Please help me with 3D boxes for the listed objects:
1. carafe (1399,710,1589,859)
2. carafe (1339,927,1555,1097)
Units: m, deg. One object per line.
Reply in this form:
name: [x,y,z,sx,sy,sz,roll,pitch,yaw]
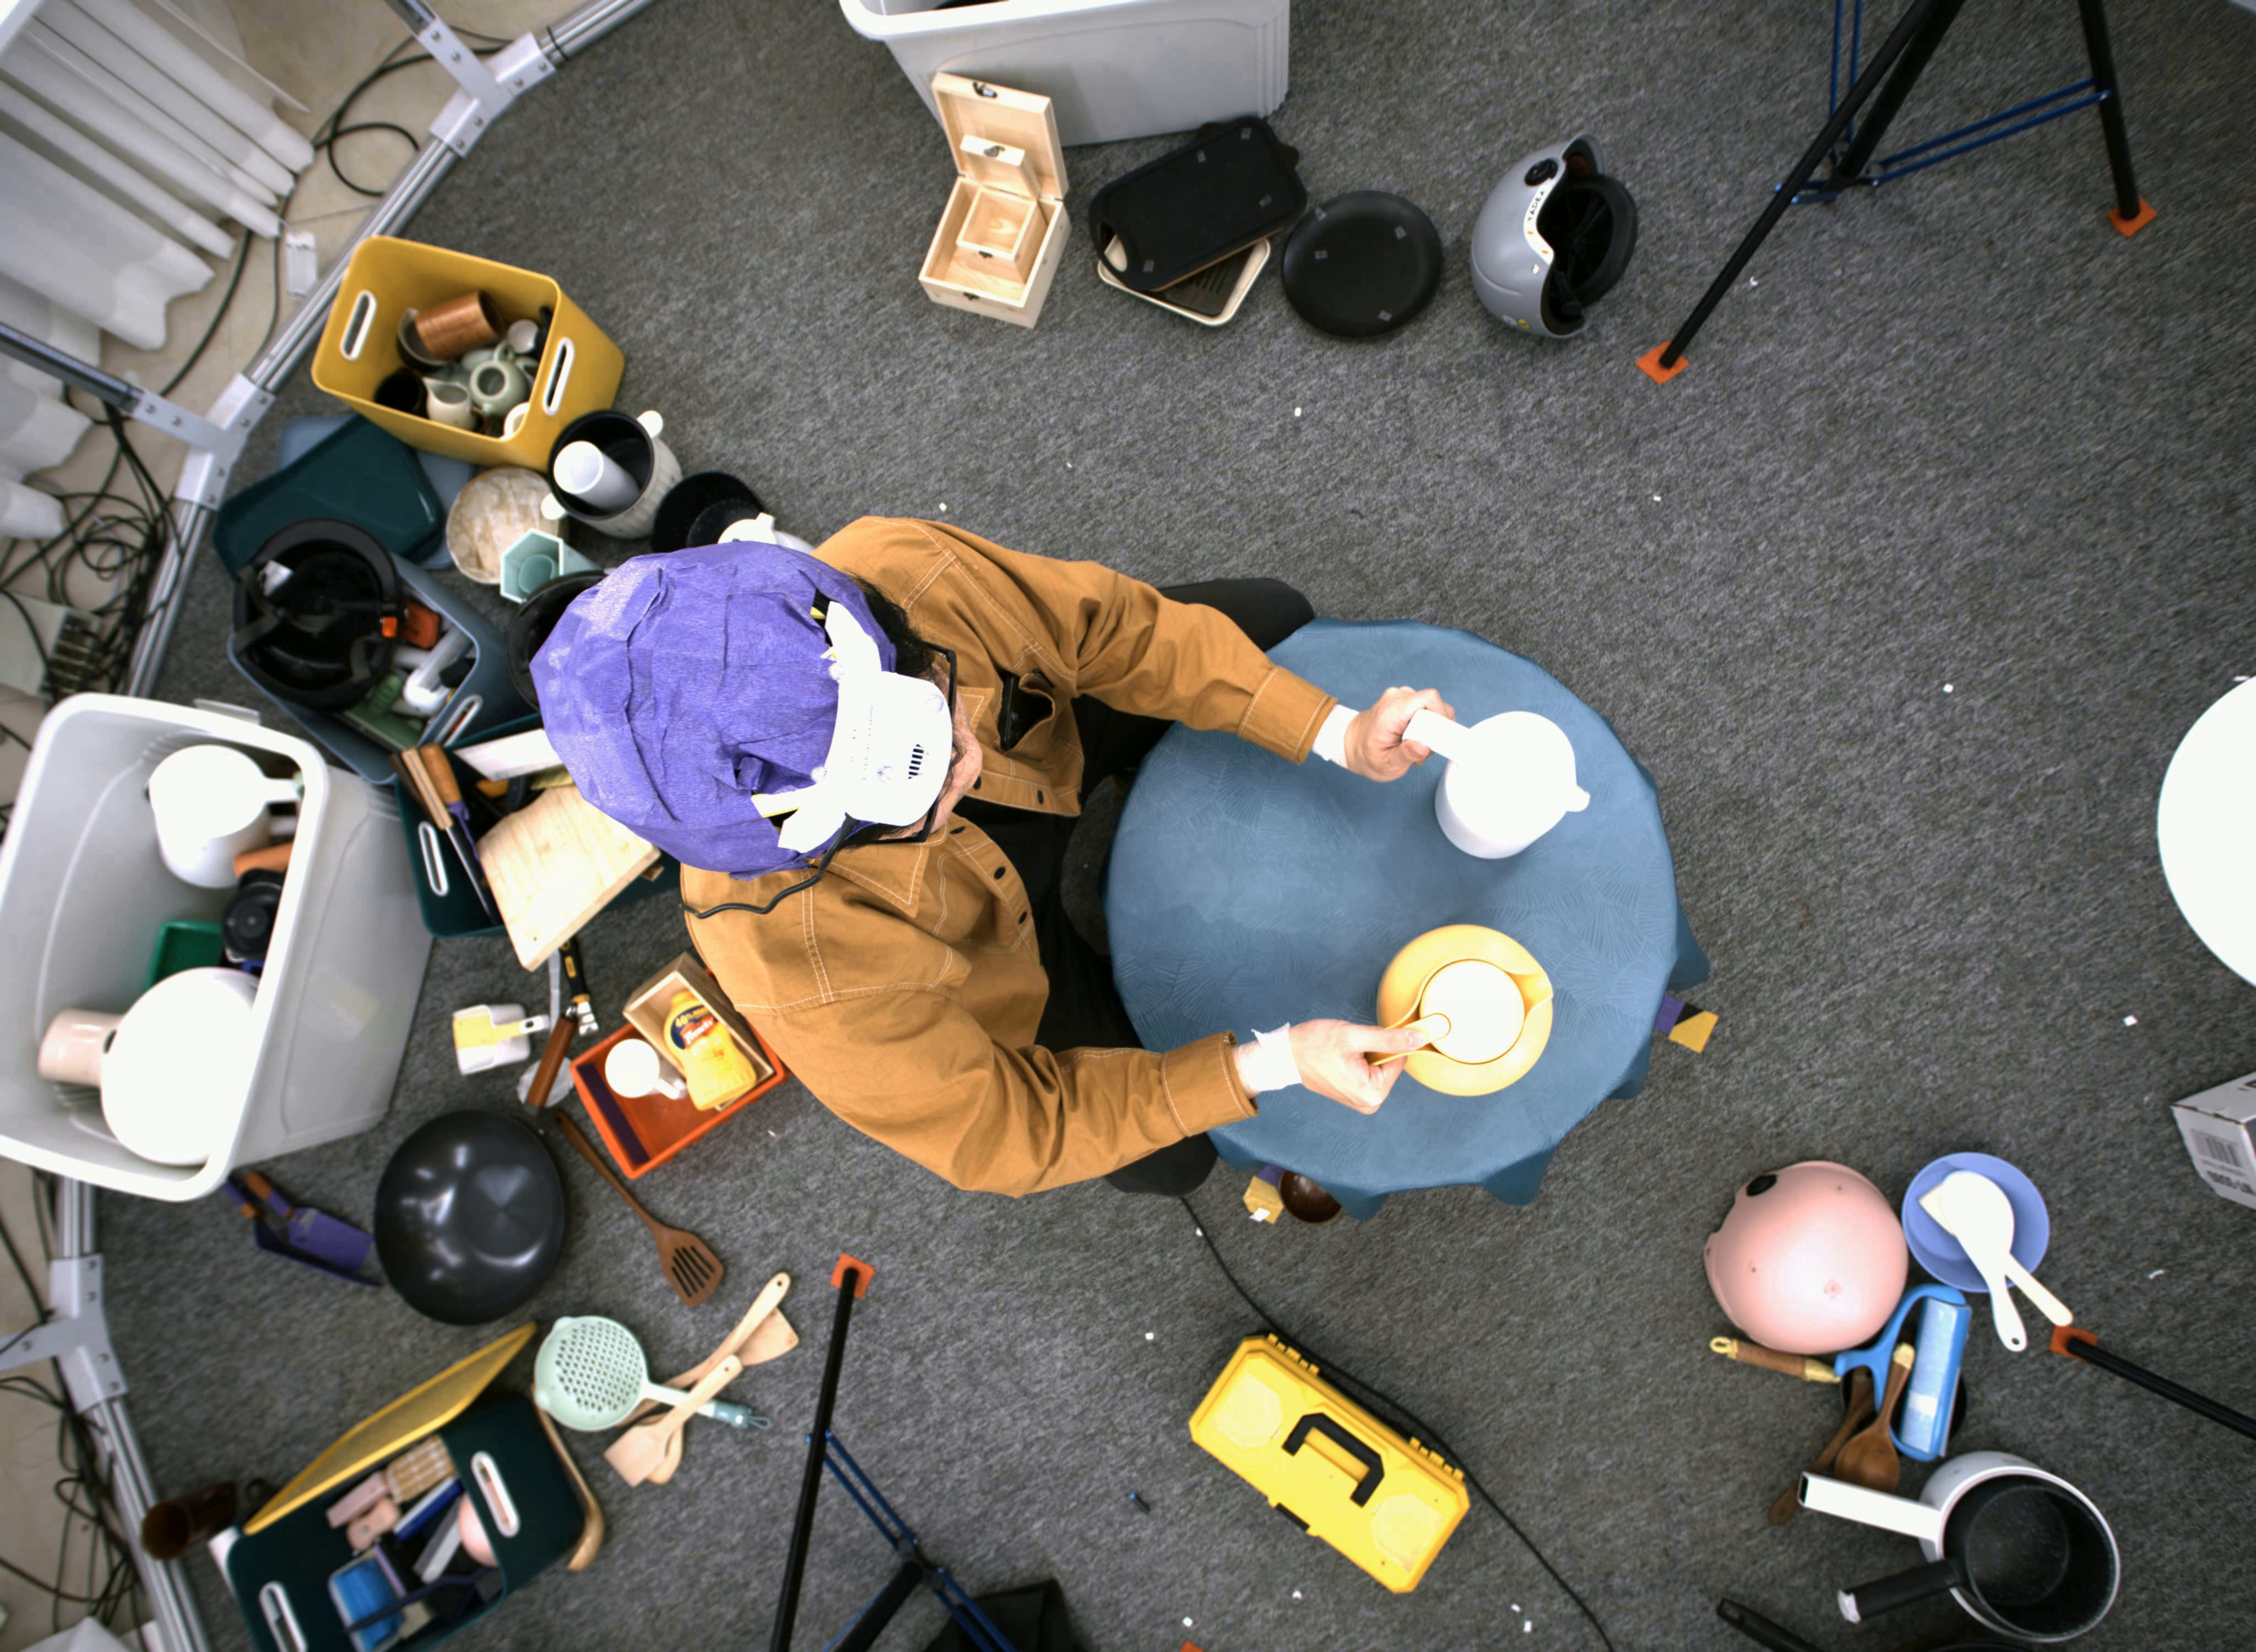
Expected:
carafe: [0.343,-0.044,1.317,0.172,0.268,0.124,27,92,11]
carafe: [0.301,0.180,1.317,0.203,0.261,0.162,-20,79,7]
